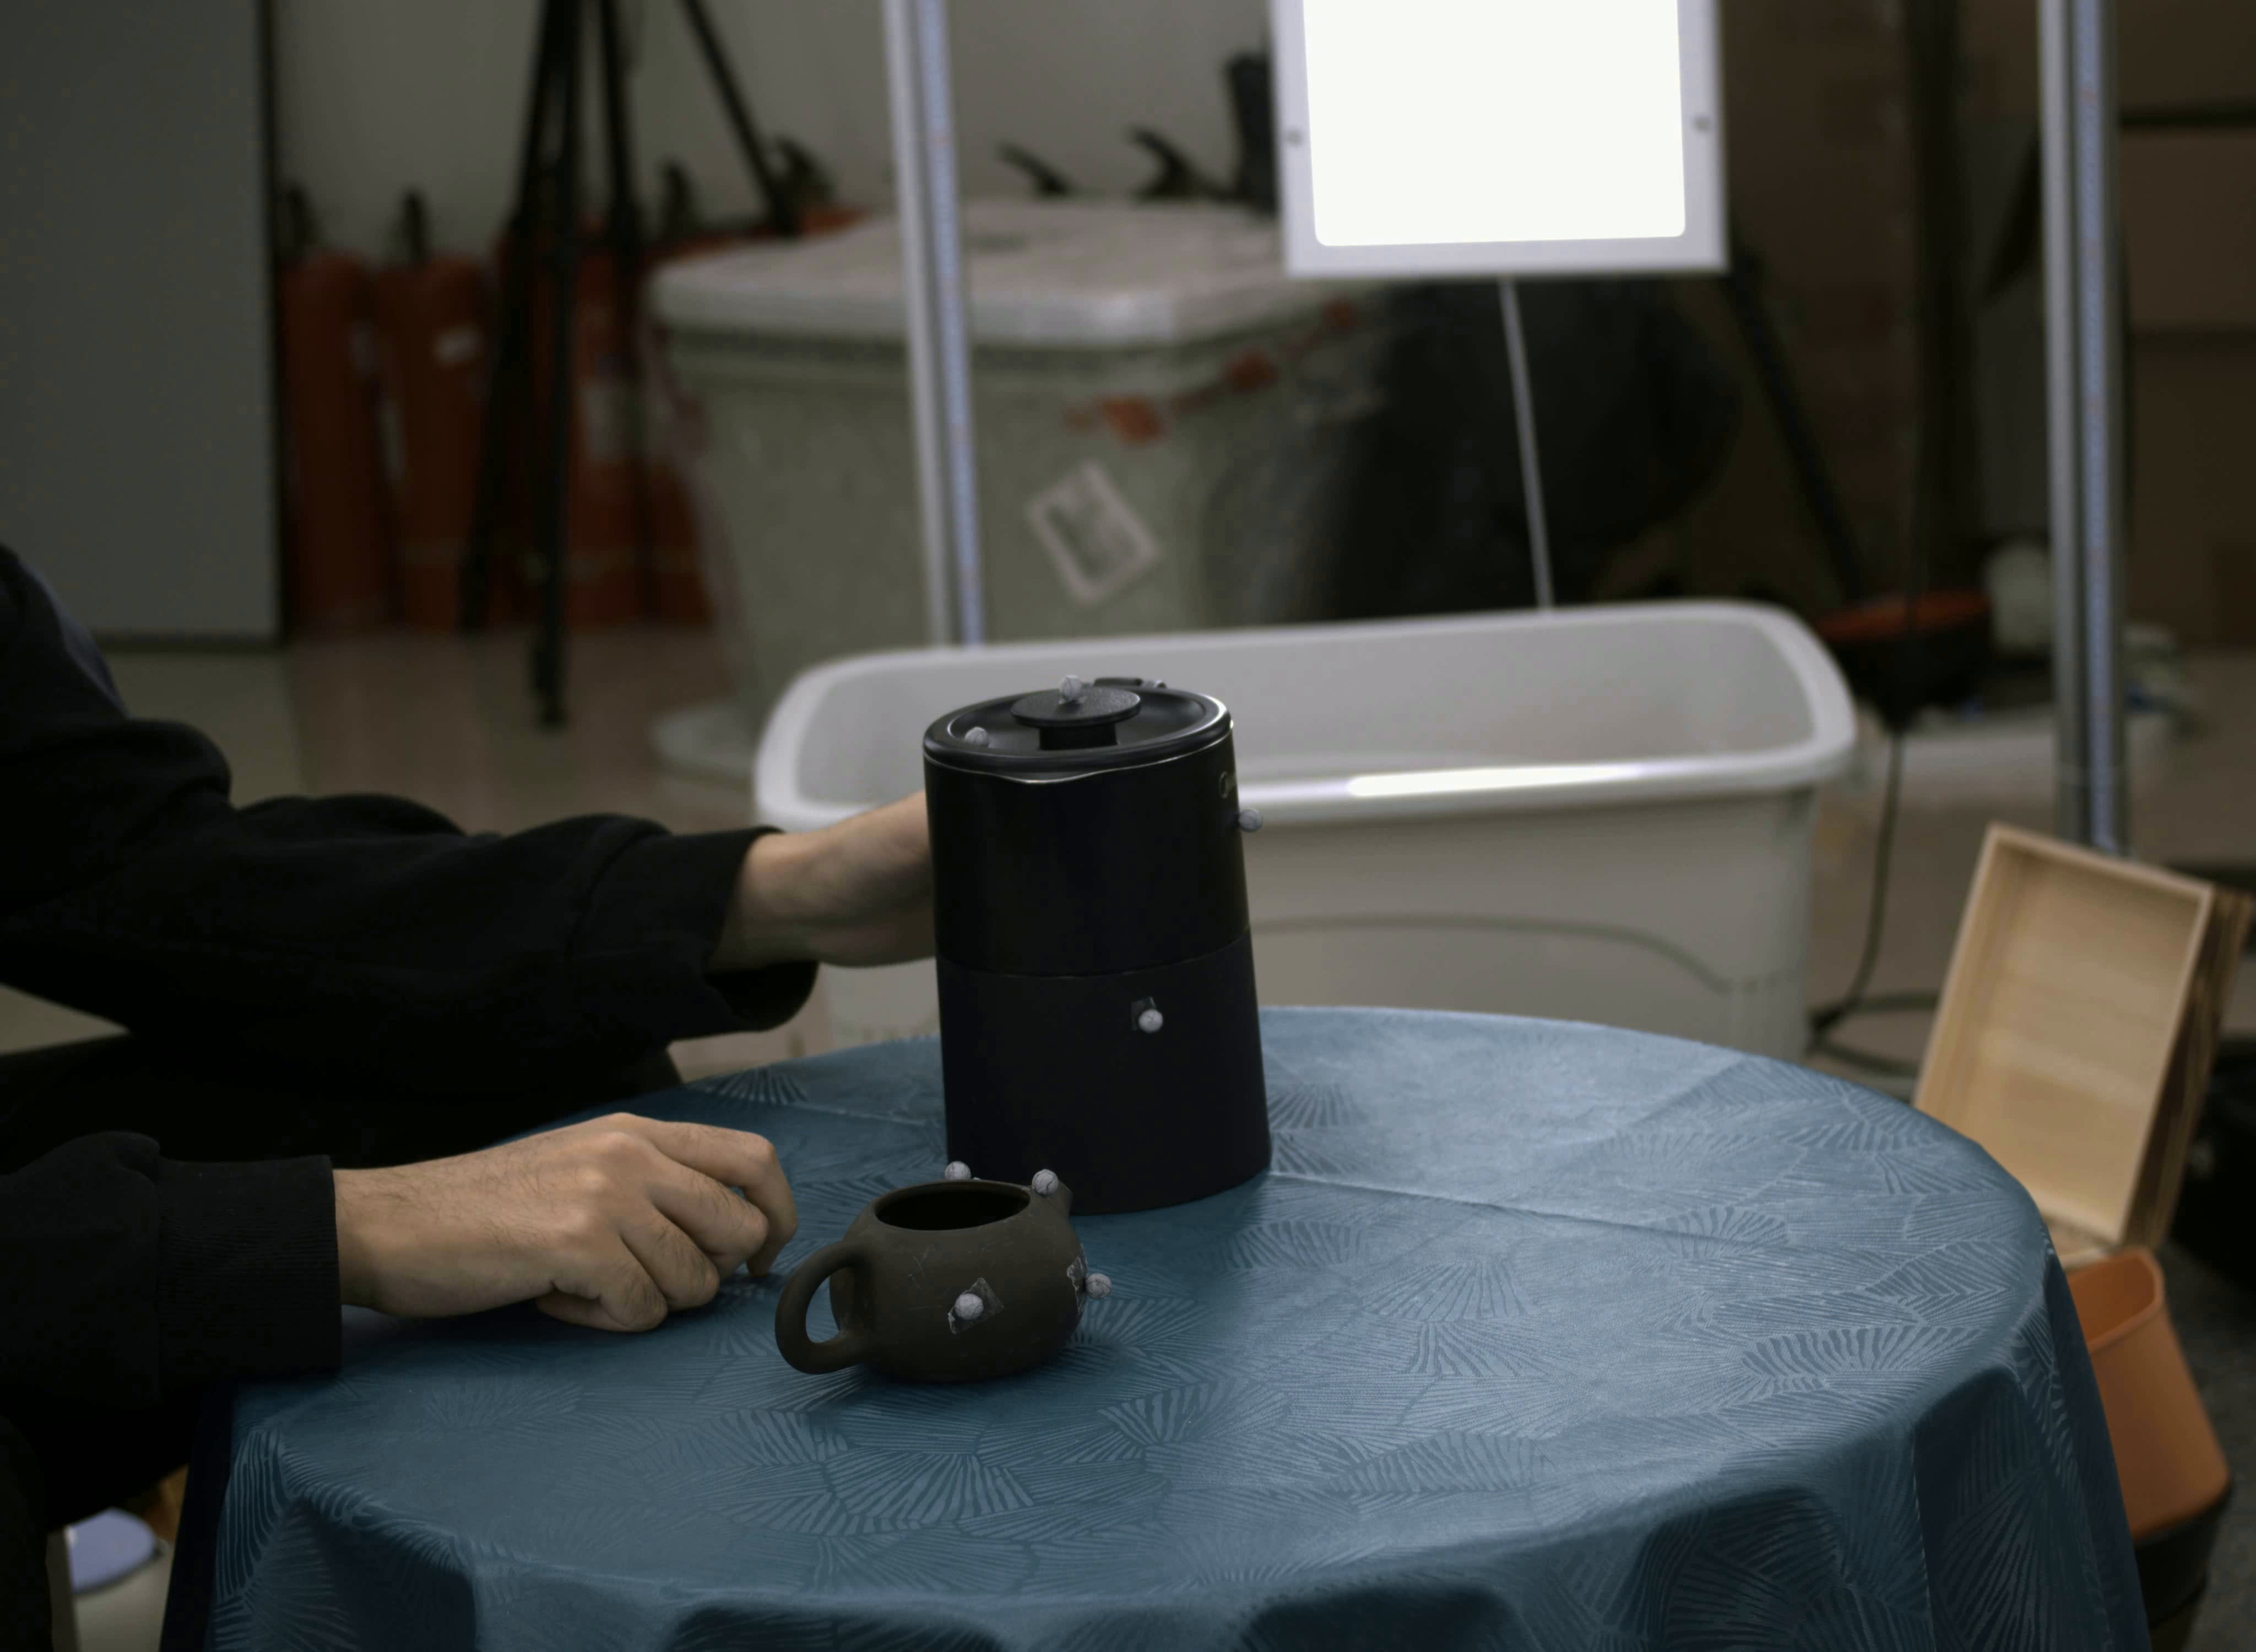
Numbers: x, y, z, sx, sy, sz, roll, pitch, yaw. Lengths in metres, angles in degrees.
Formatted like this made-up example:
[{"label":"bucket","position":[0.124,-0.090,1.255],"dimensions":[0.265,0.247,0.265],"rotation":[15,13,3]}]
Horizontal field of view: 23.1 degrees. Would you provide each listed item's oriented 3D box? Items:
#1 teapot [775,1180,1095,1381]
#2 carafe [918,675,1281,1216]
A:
[{"label":"teapot","position":[-0.062,0.145,1.738],"dimensions":[0.111,0.053,0.084],"rotation":[-9,13,-30]},{"label":"carafe","position":[-0.009,0.032,1.926],"dimensions":[0.115,0.174,0.170],"rotation":[-4,16,11]}]
